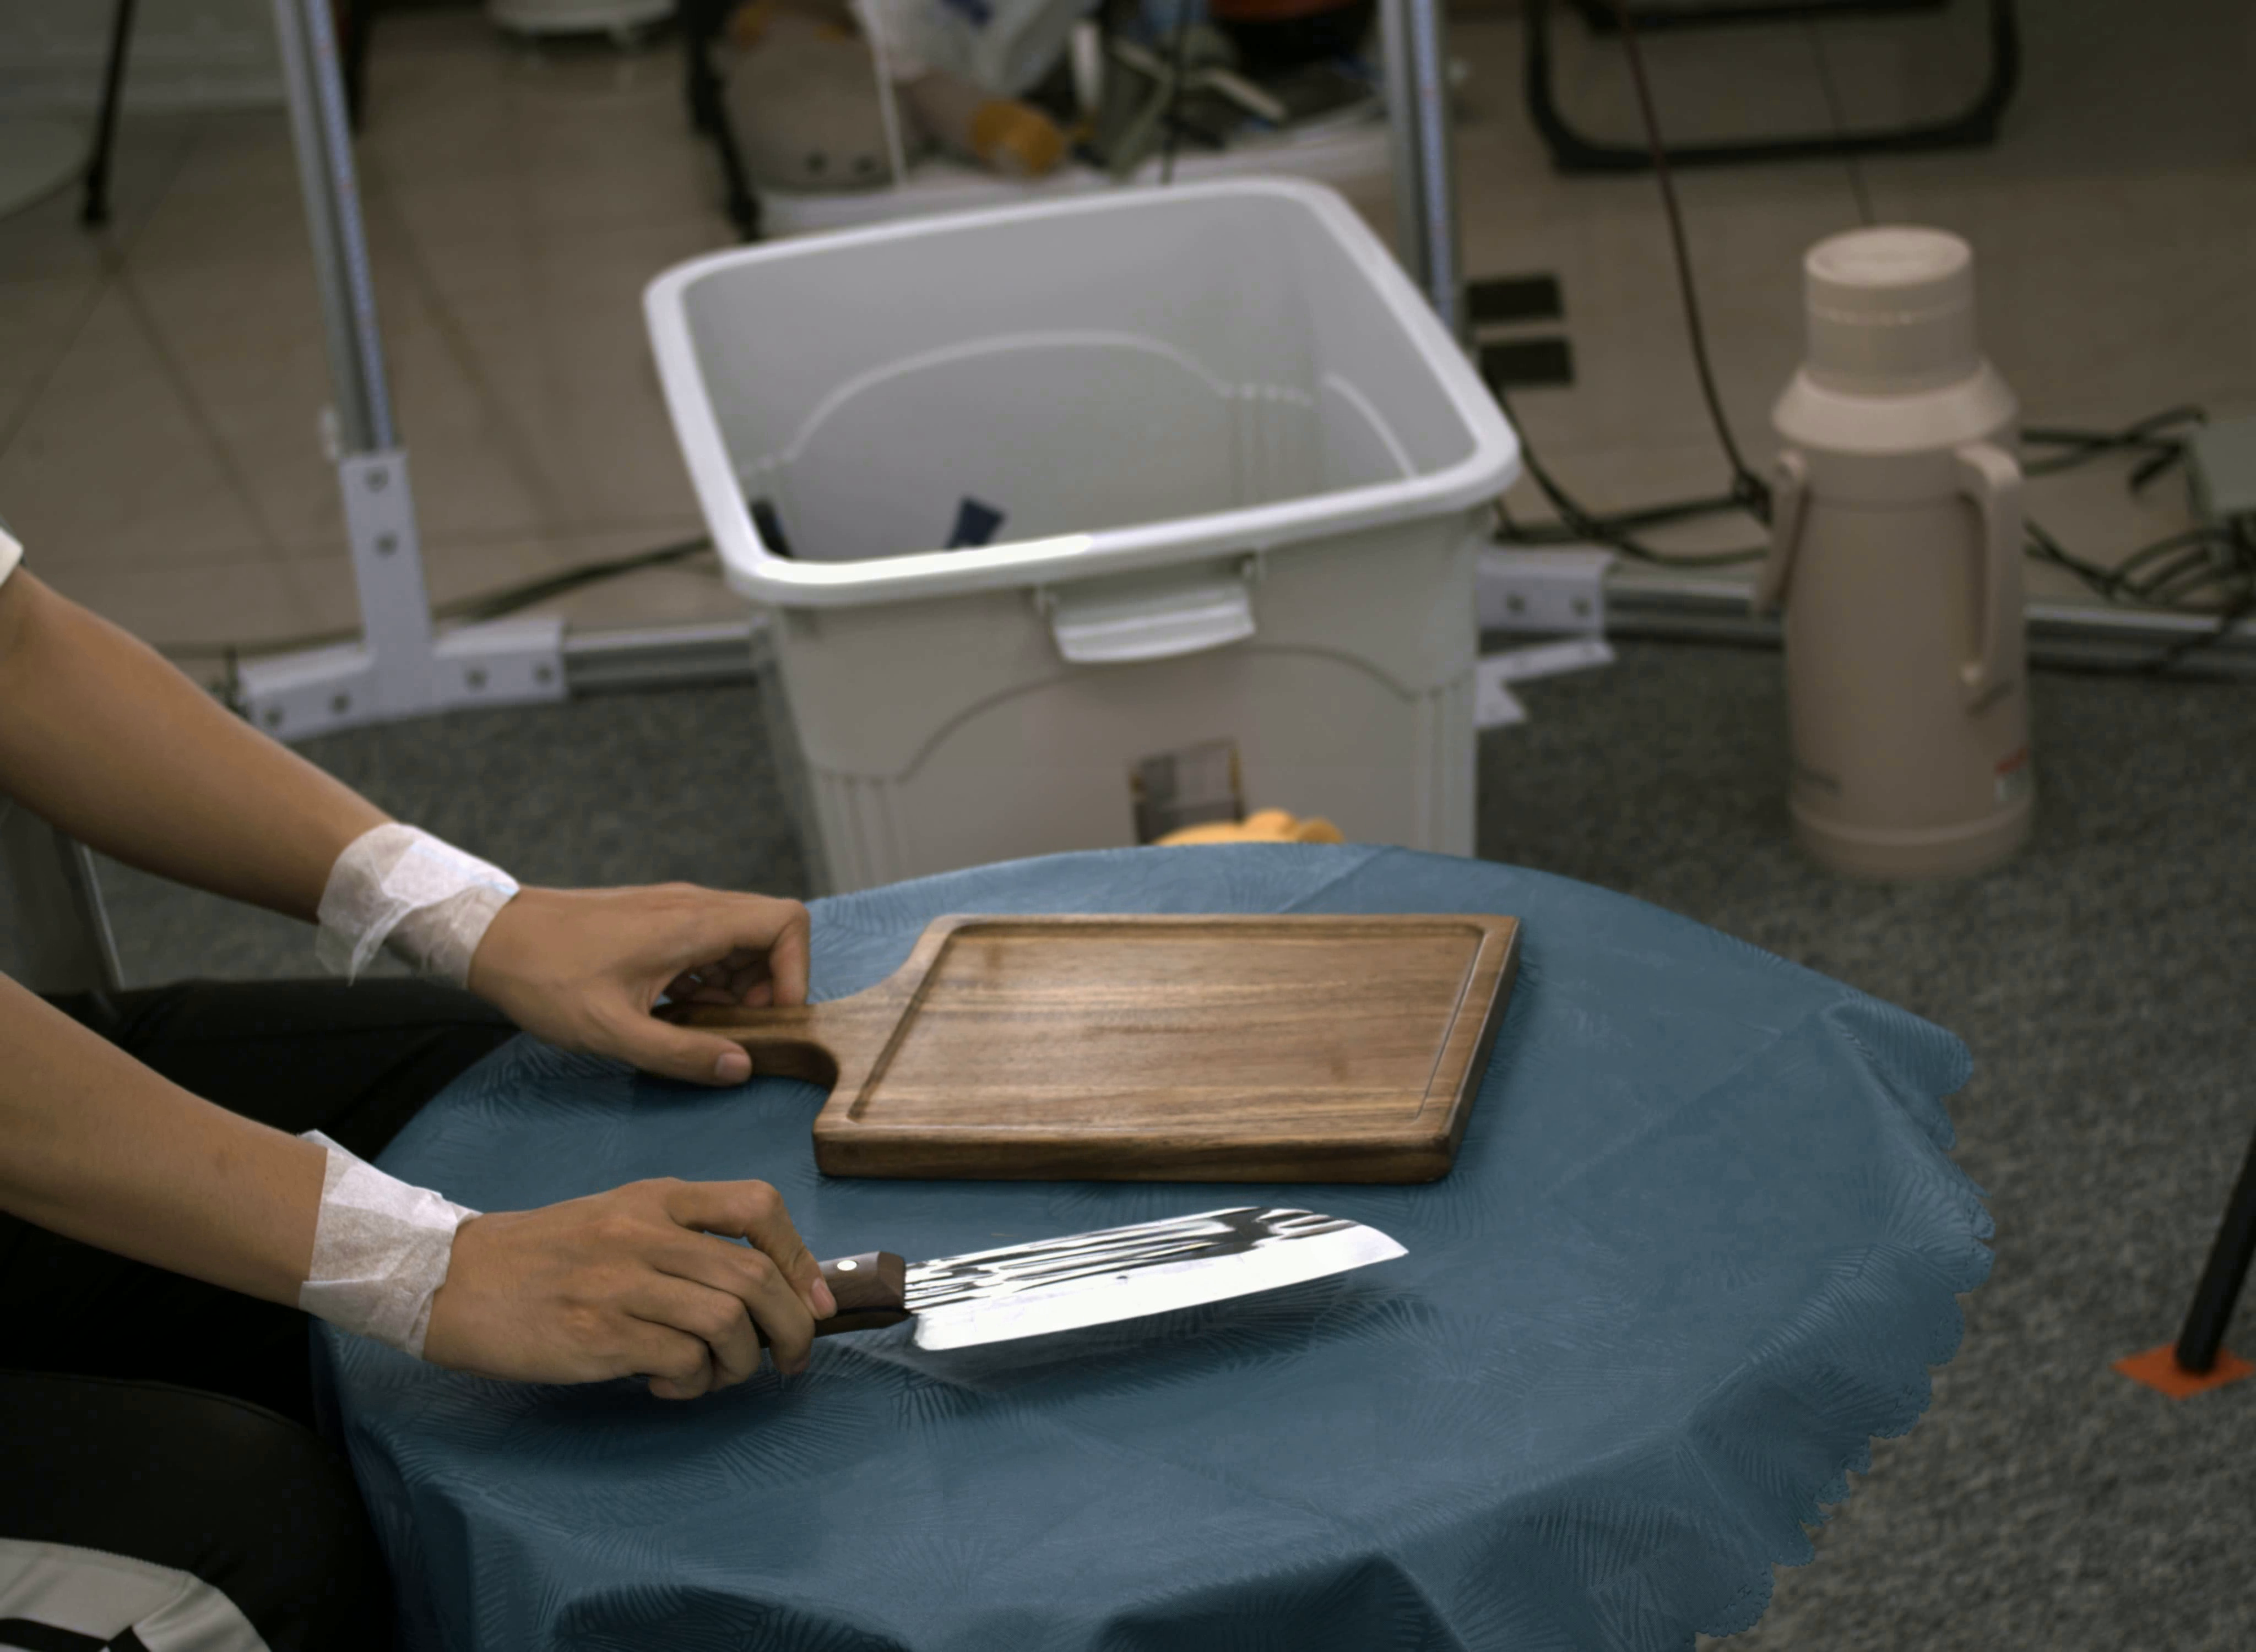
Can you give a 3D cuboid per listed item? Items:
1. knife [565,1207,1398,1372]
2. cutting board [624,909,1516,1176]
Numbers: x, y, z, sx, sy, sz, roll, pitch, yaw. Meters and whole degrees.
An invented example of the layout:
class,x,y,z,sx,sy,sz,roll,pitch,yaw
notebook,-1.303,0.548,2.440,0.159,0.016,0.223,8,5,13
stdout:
class,x,y,z,sx,sy,sz,roll,pitch,yaw
knife,-0.053,0.168,2.044,0.299,0.024,0.067,-9,24,-7
cutting board,-0.030,0.084,2.250,0.351,0.023,0.198,-1,25,13
